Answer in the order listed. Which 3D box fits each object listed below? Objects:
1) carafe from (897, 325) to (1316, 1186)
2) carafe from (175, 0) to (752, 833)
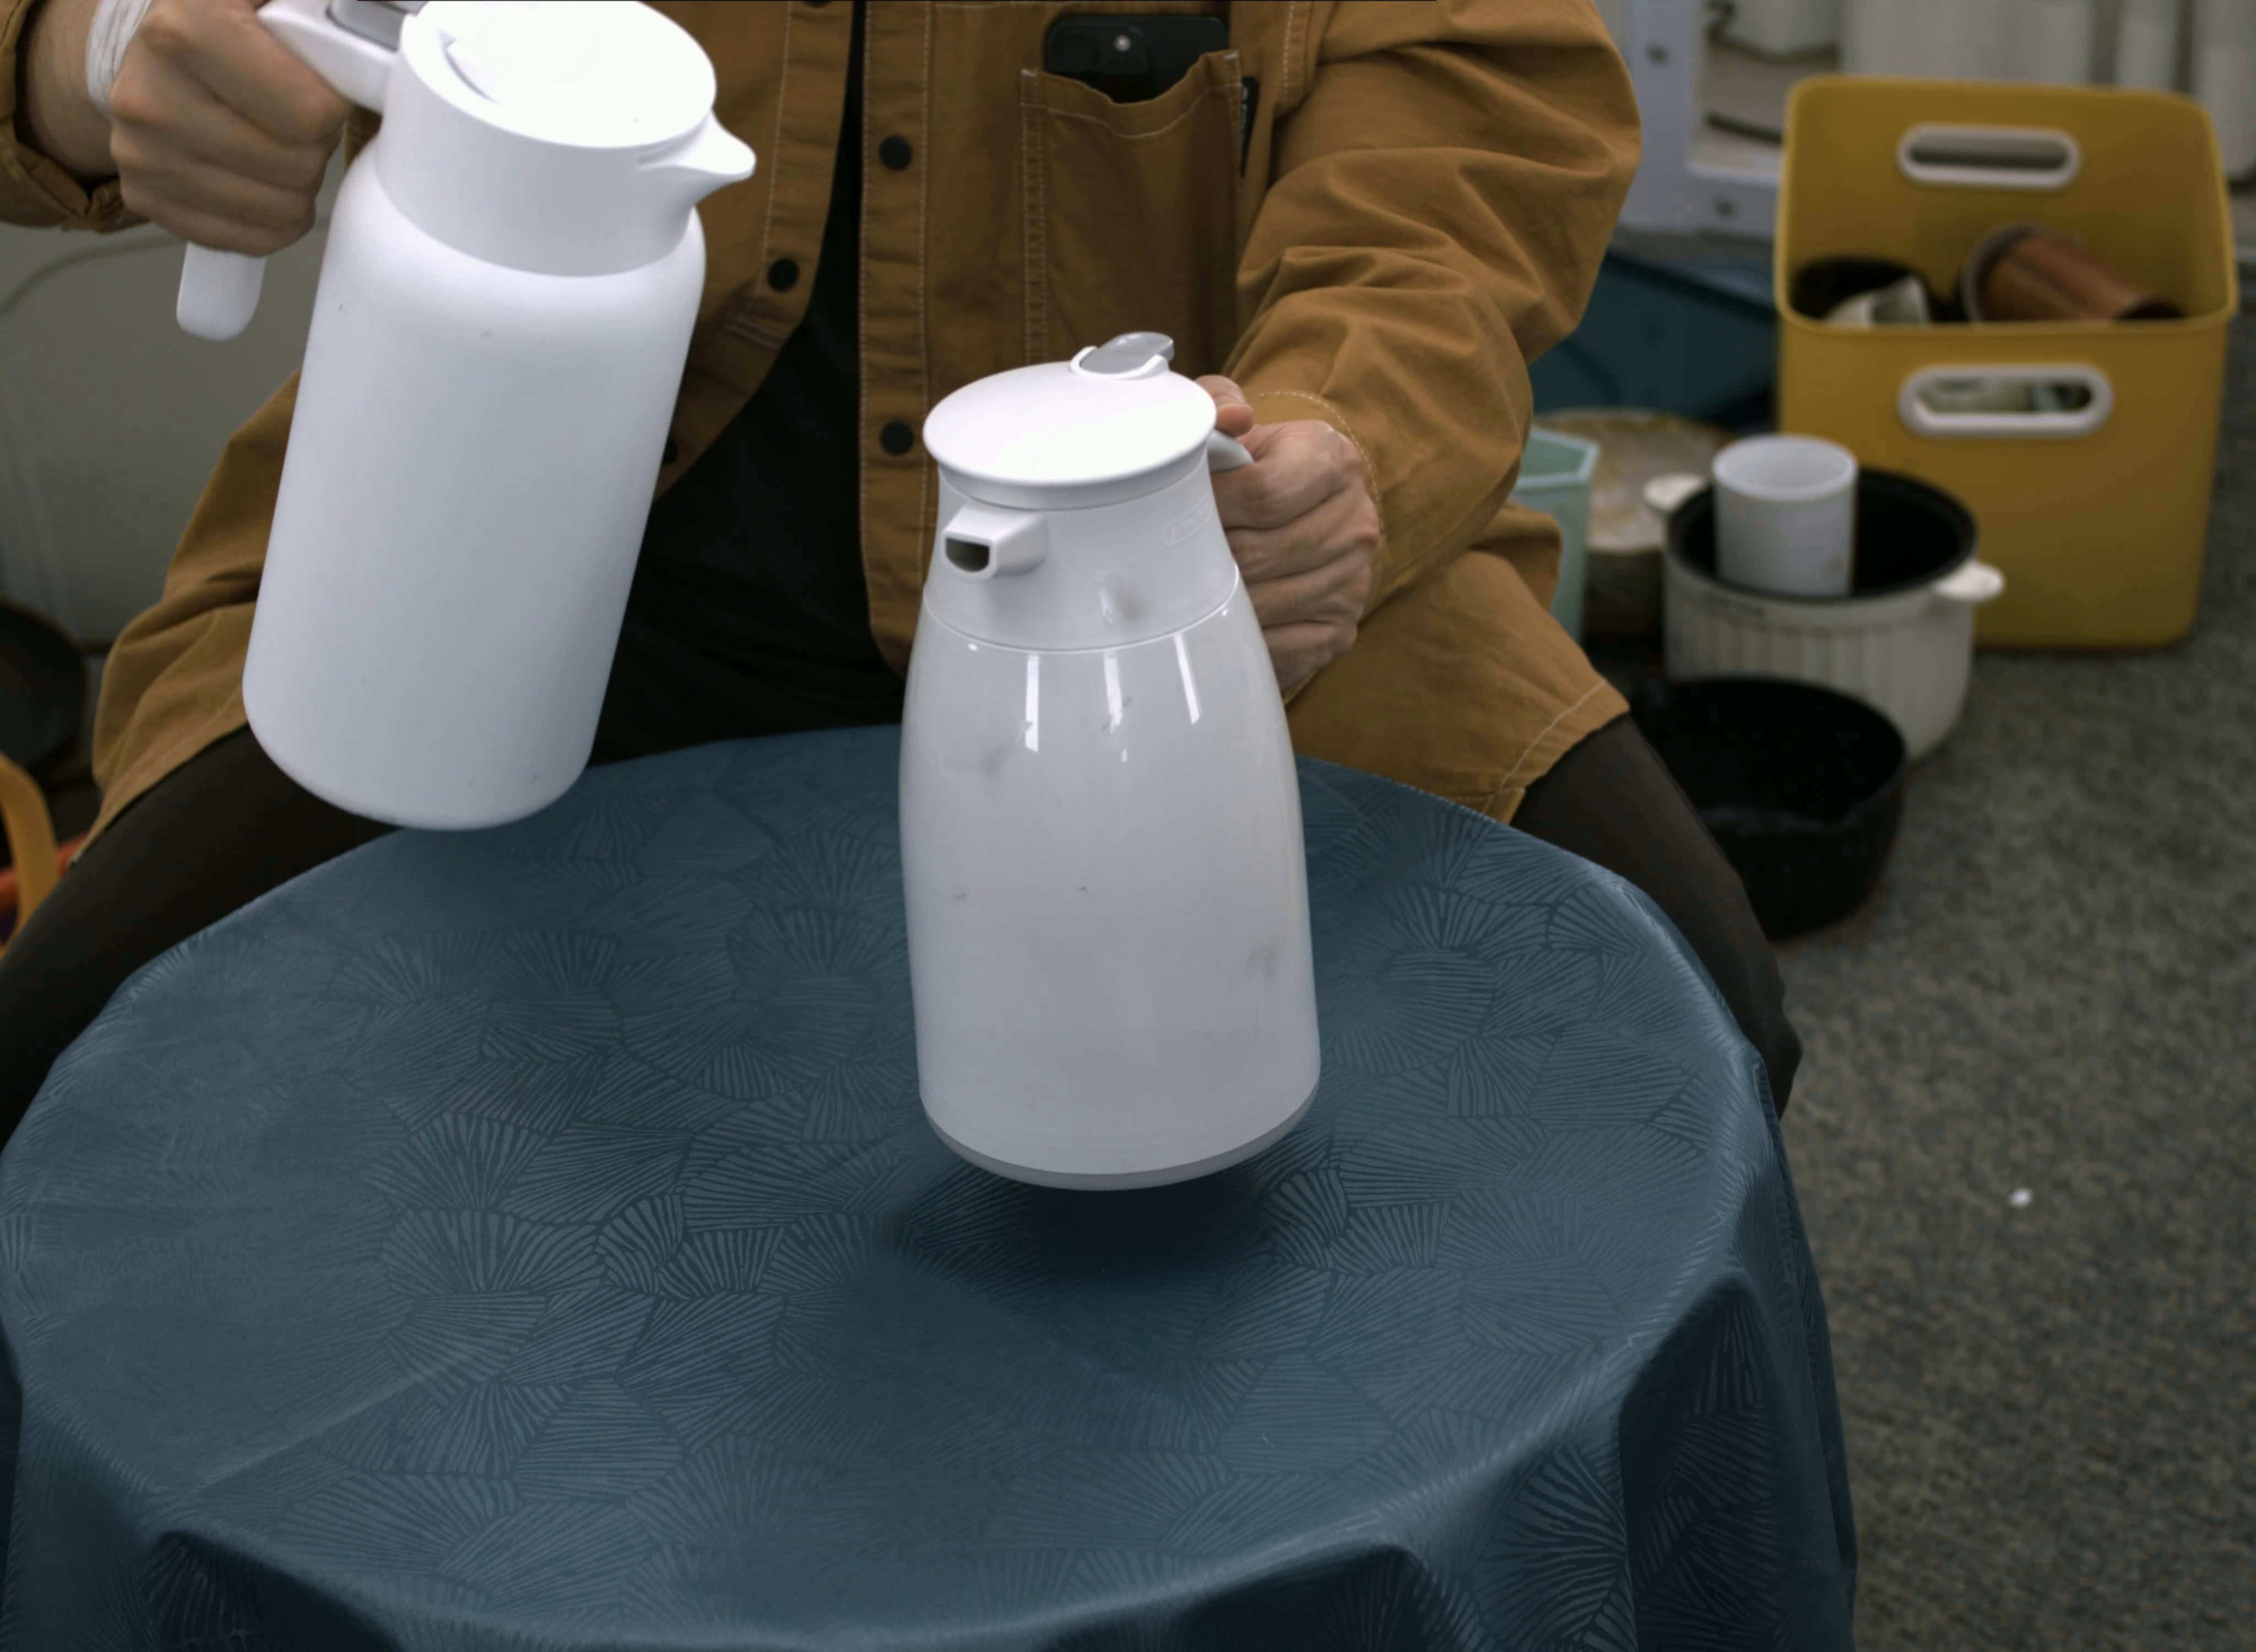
[{"bbox_3d":[-0.002,-0.033,1.804,0.132,0.246,0.170,11,29,28],"label":"carafe"},{"bbox_3d":[-0.222,-0.139,1.791,0.172,0.264,0.126,23,36,8],"label":"carafe"}]
